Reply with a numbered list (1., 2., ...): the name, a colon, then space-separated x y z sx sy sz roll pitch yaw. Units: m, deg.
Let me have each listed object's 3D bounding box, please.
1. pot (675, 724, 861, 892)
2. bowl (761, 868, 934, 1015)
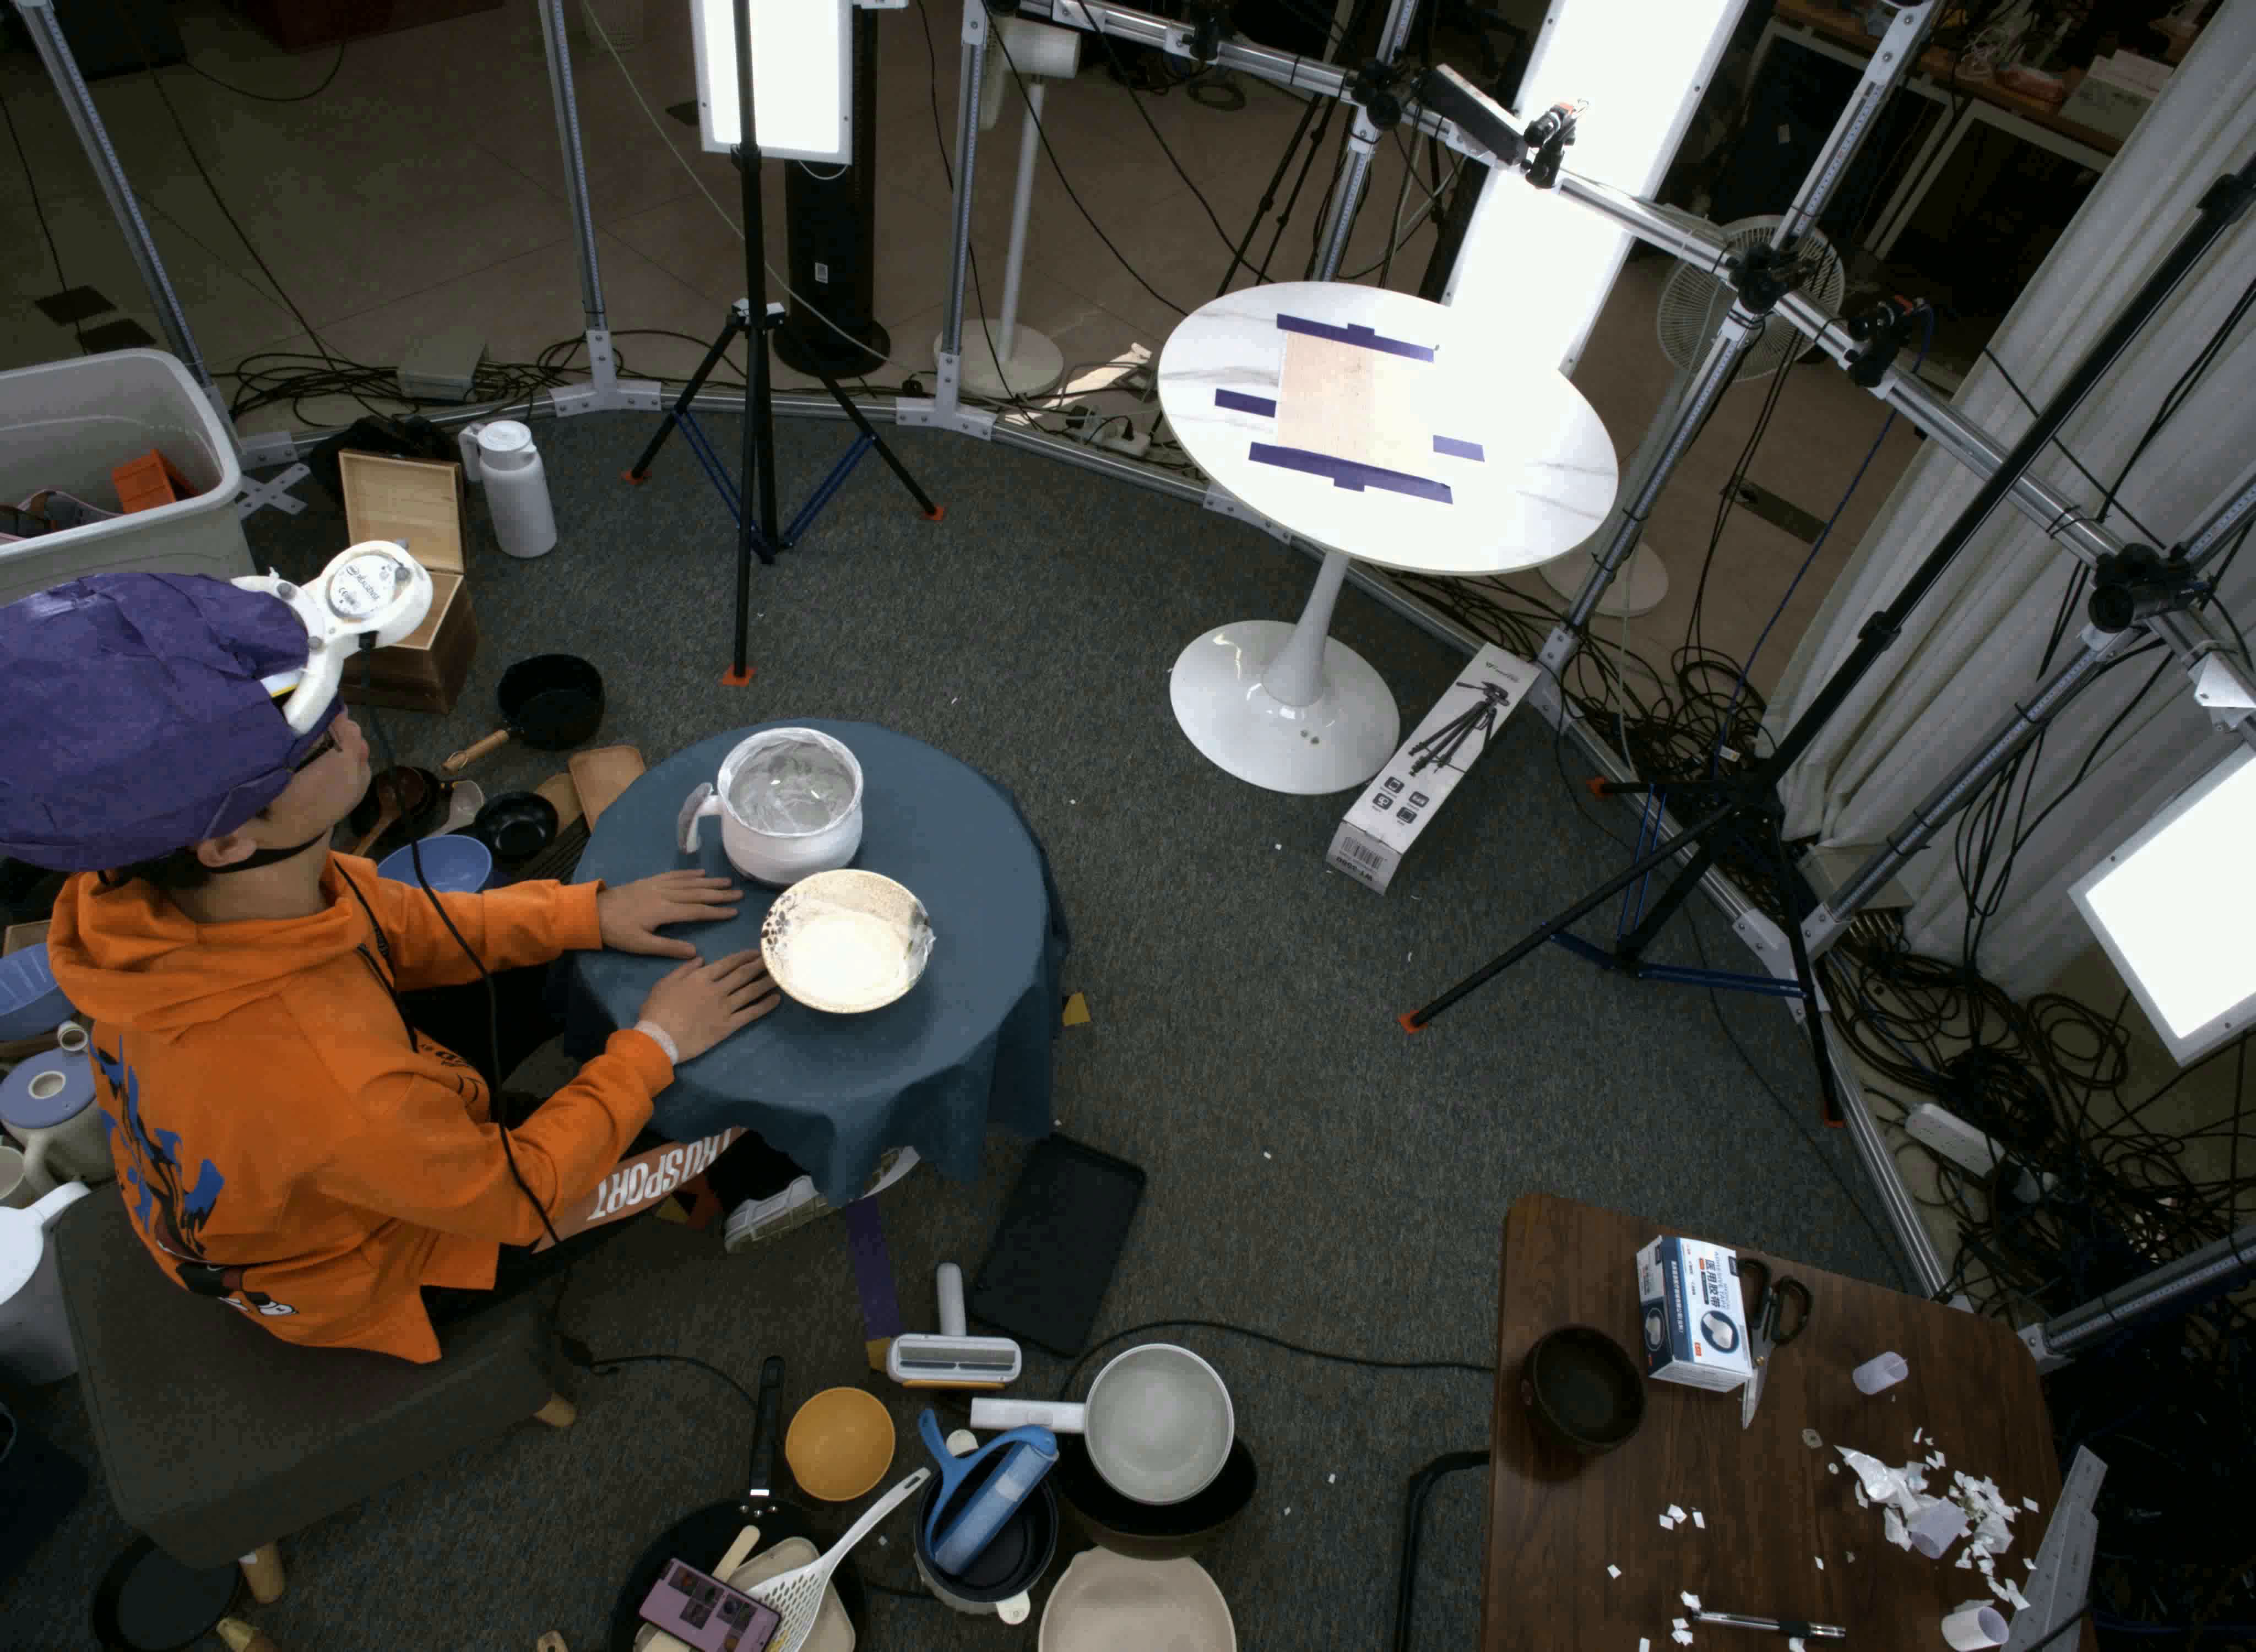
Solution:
1. pot: -0.454 -0.016 1.629 0.235 0.139 0.174 -7 55 -19
2. bowl: -0.337 0.154 1.573 0.203 0.079 0.200 7 54 -8
